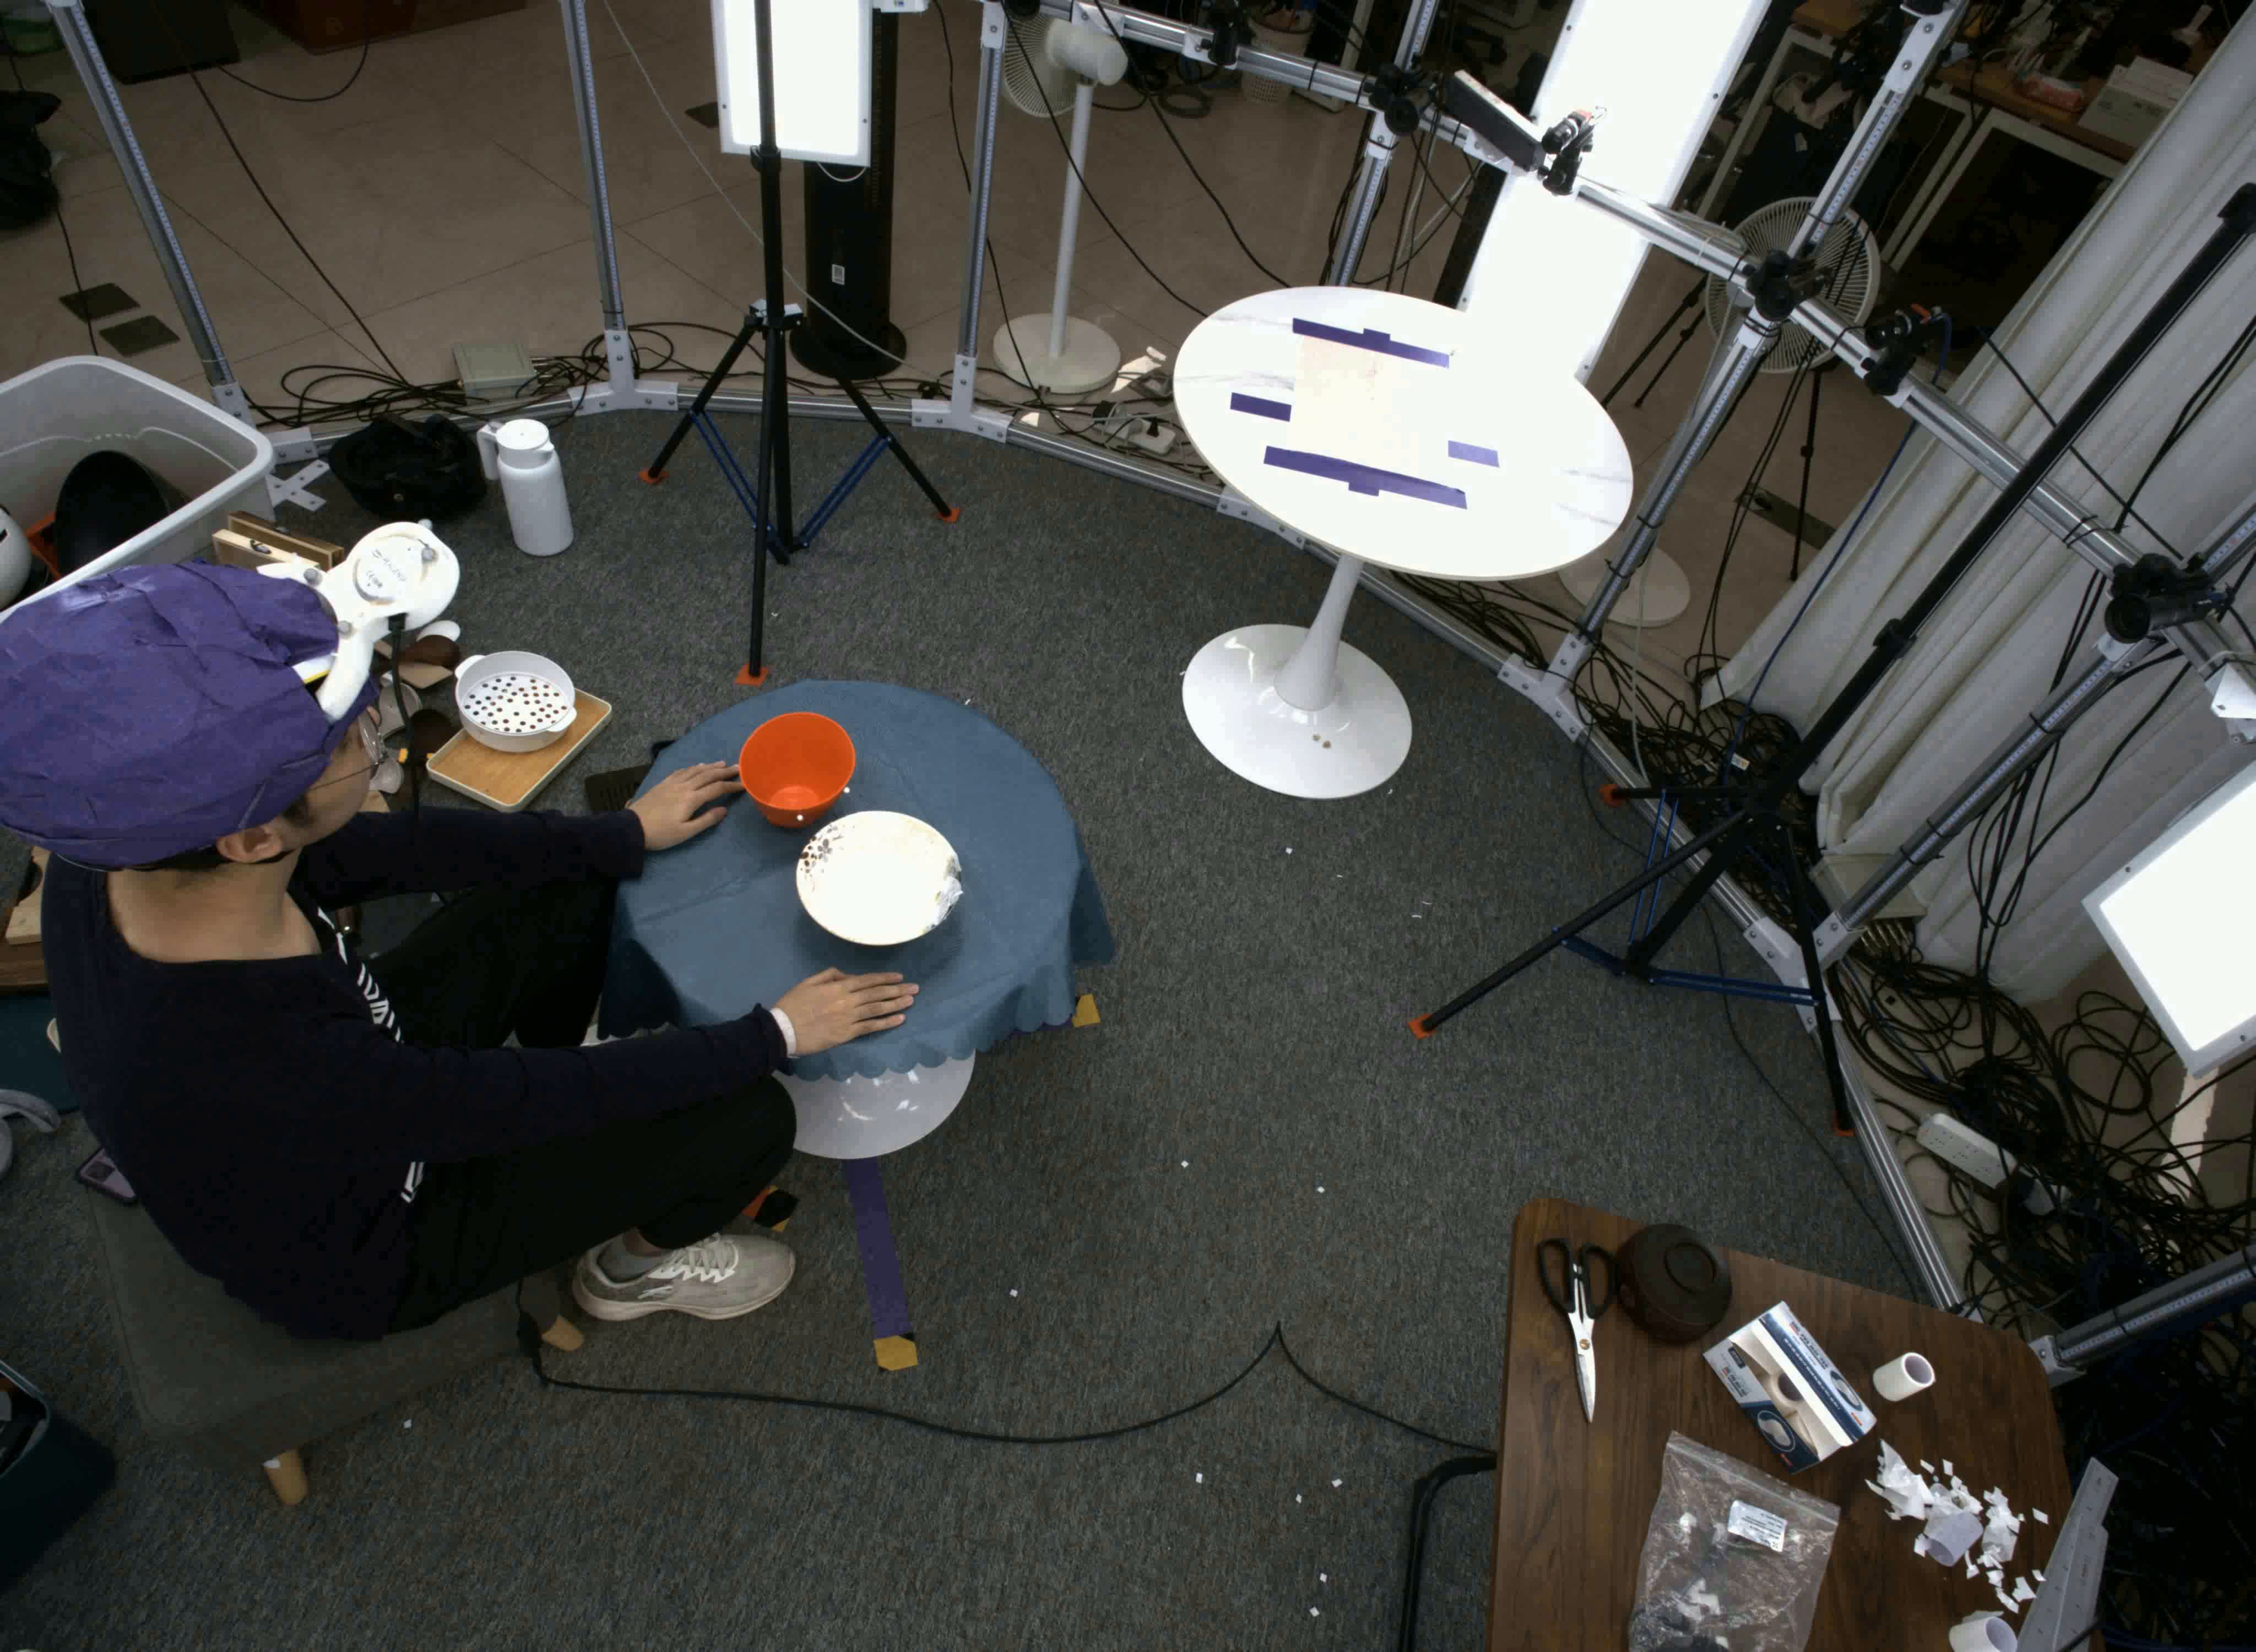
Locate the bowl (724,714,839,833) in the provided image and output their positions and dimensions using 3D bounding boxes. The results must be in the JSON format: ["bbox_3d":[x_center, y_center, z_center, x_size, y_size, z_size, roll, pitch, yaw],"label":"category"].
[{"bbox_3d":[-0.453,-0.058,1.707,0.147,0.107,0.145,6,54,-7],"label":"bowl"}]

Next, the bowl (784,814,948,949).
[{"bbox_3d":[-0.328,0.086,1.650,0.203,0.080,0.200,5,54,-5],"label":"bowl"}]
